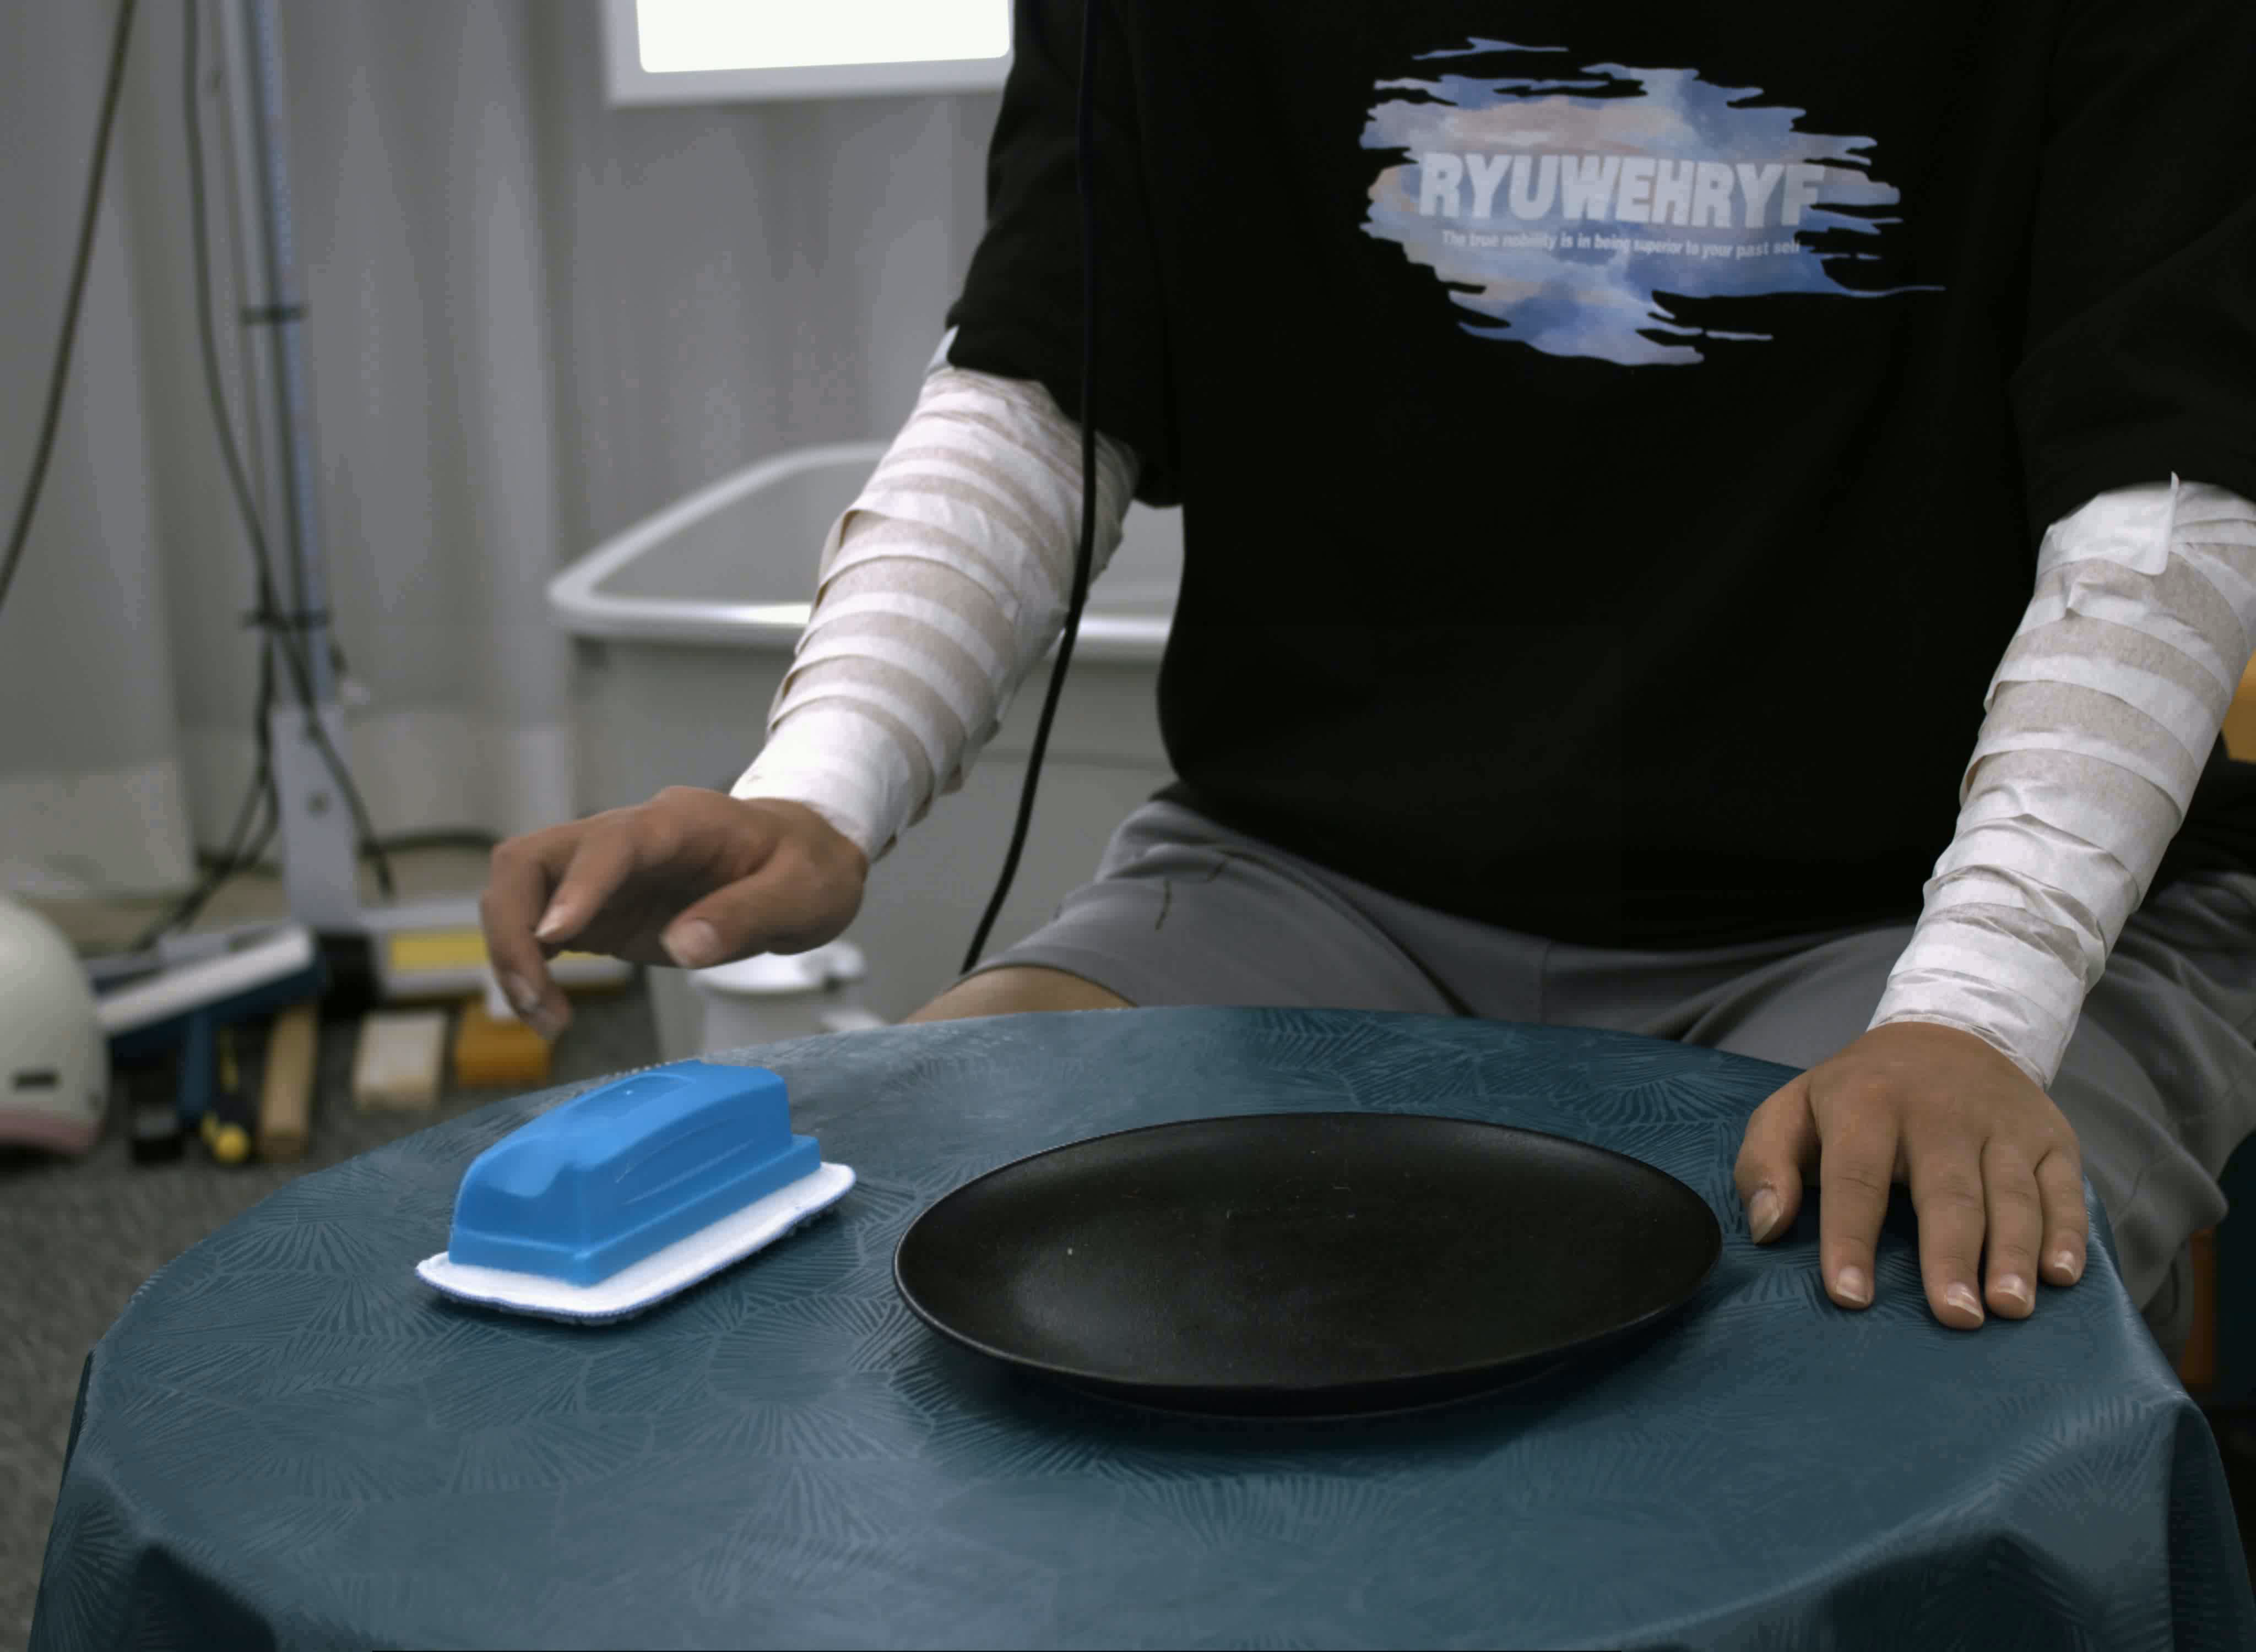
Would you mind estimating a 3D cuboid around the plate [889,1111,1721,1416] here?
[{"bbox_3d":[0.052,0.130,1.597,0.243,0.023,0.246,-3,15,0],"label":"plate"}]

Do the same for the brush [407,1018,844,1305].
[{"bbox_3d":[-0.153,0.099,1.679,0.084,0.055,0.144,10,22,28],"label":"brush"}]
